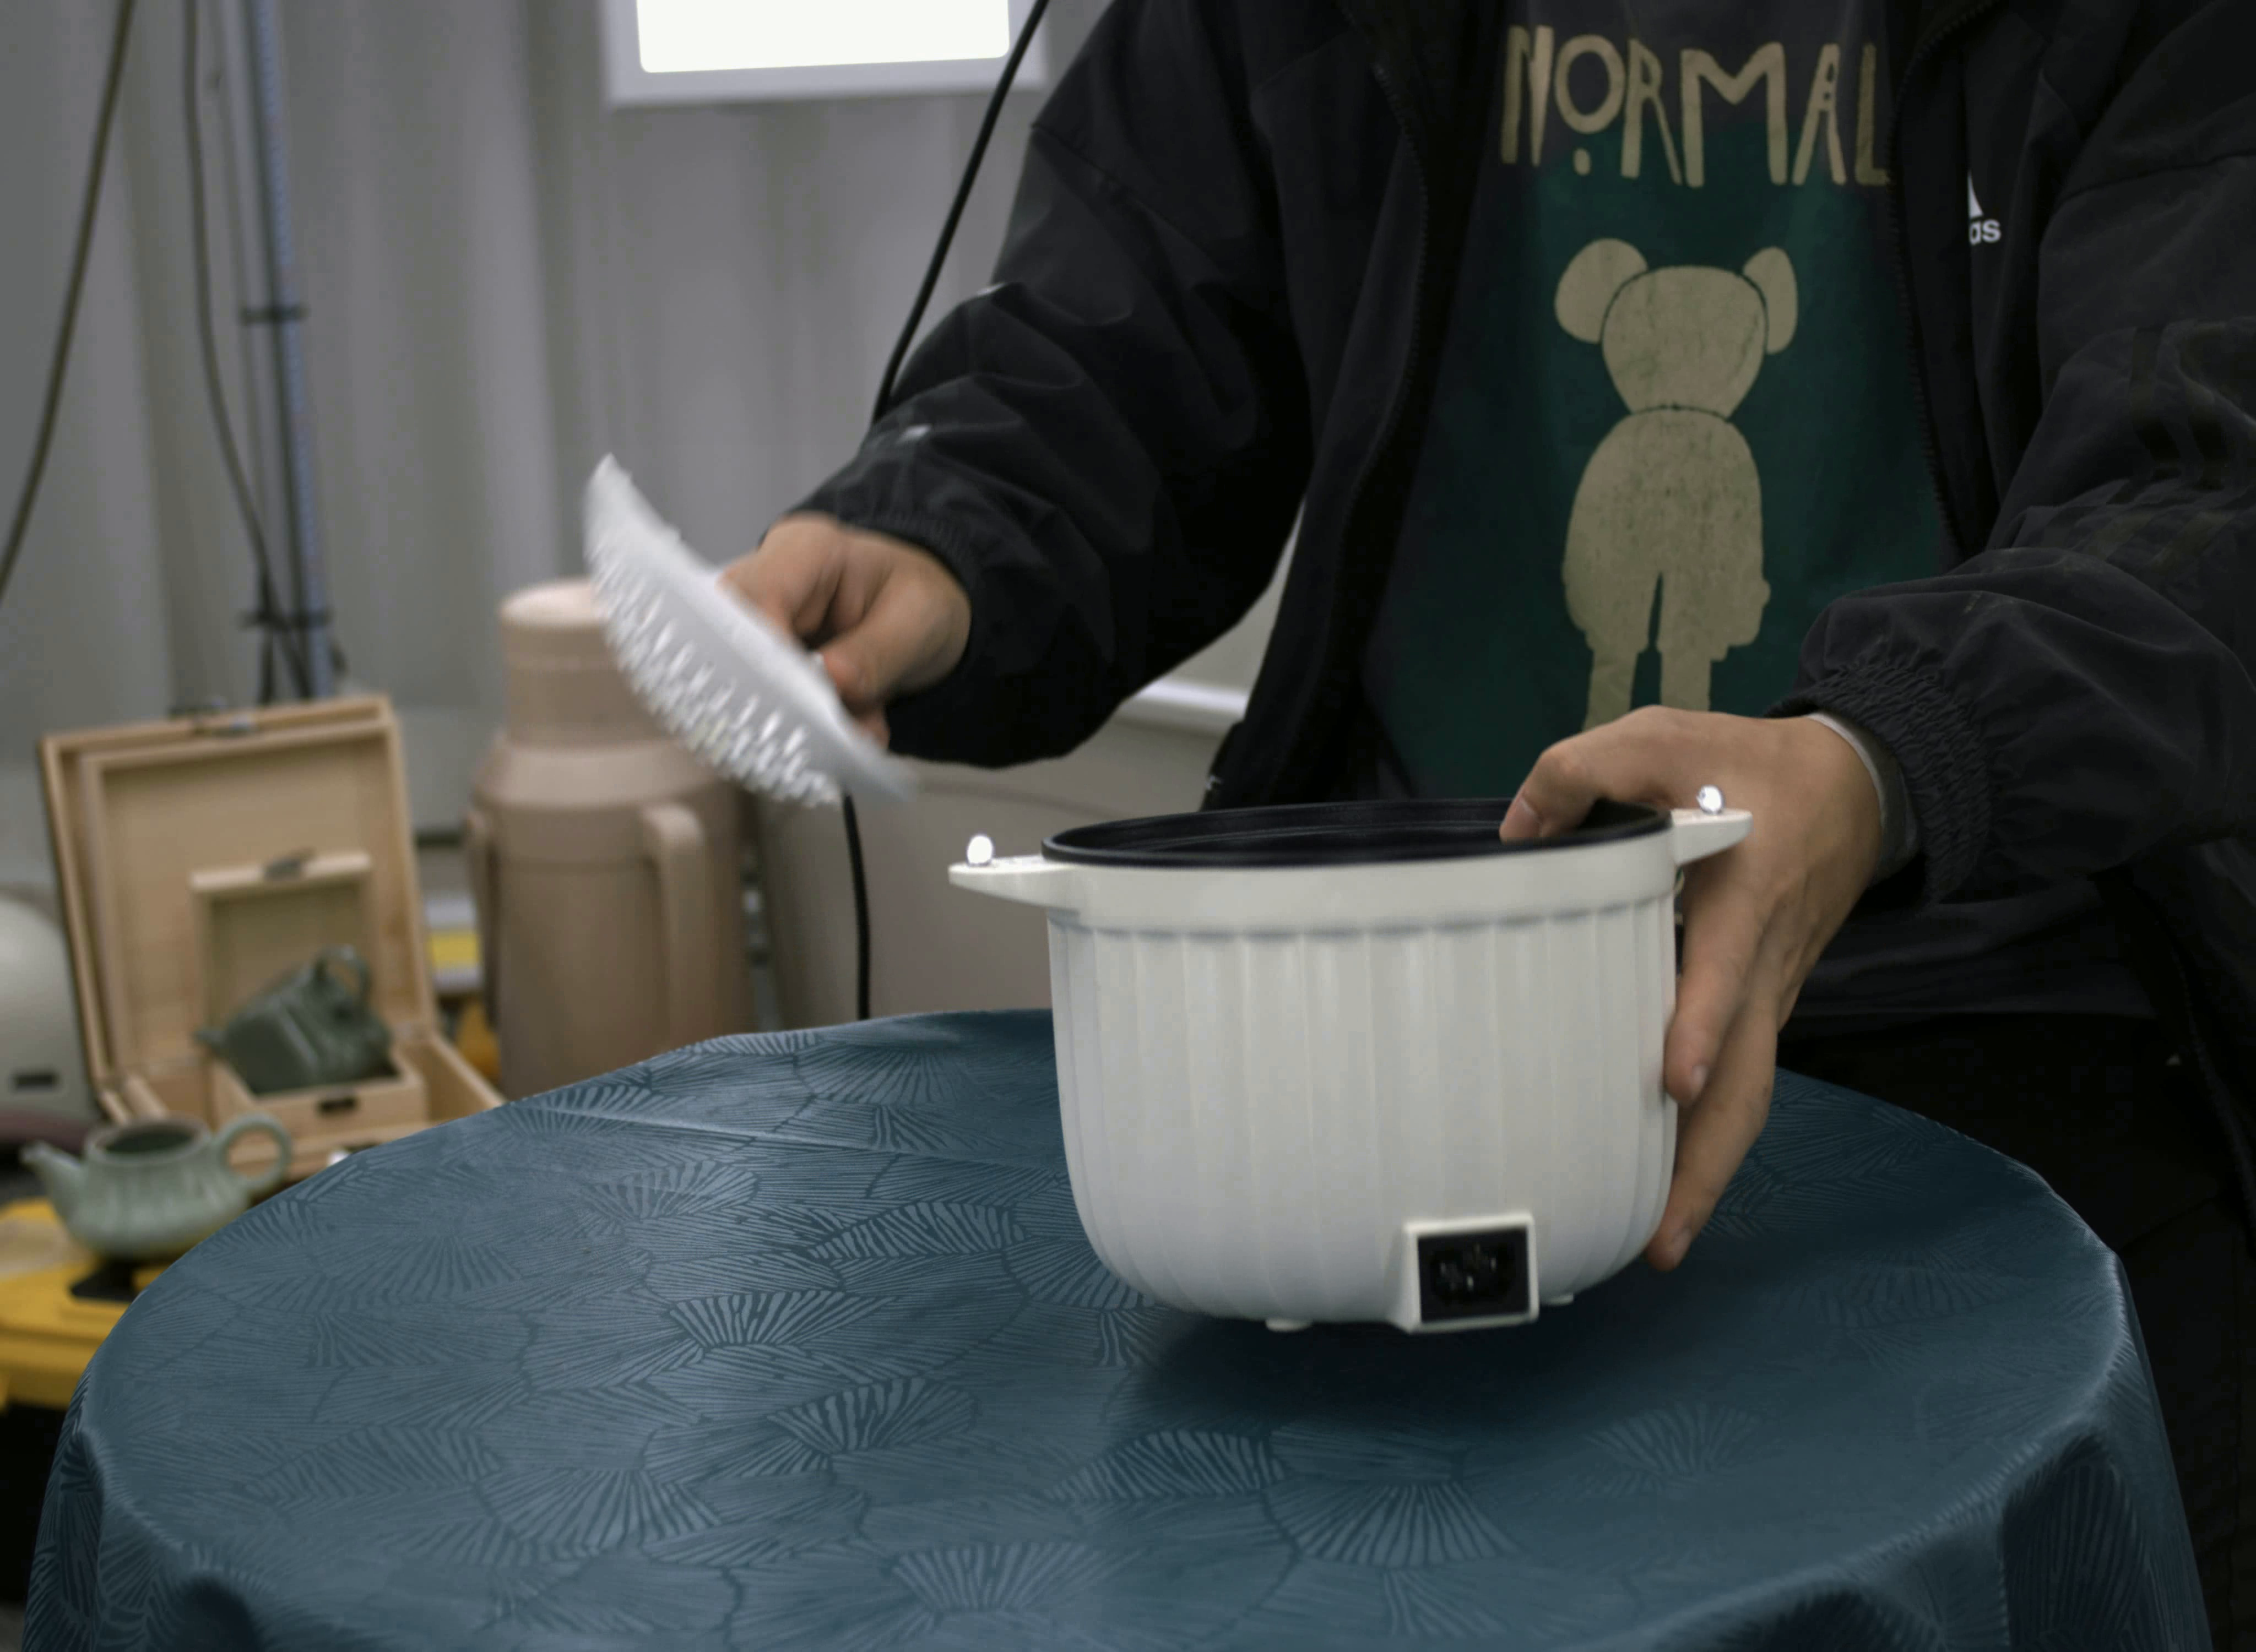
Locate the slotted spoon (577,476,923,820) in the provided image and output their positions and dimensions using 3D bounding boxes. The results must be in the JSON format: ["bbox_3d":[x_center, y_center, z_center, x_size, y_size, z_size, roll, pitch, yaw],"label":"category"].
[{"bbox_3d":[-0.114,-0.039,1.698,0.050,0.137,0.347,-46,-3,3],"label":"slotted spoon"}]

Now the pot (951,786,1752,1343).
[{"bbox_3d":[0.065,0.065,1.571,0.239,0.142,0.191,-3,8,-16],"label":"pot"}]
